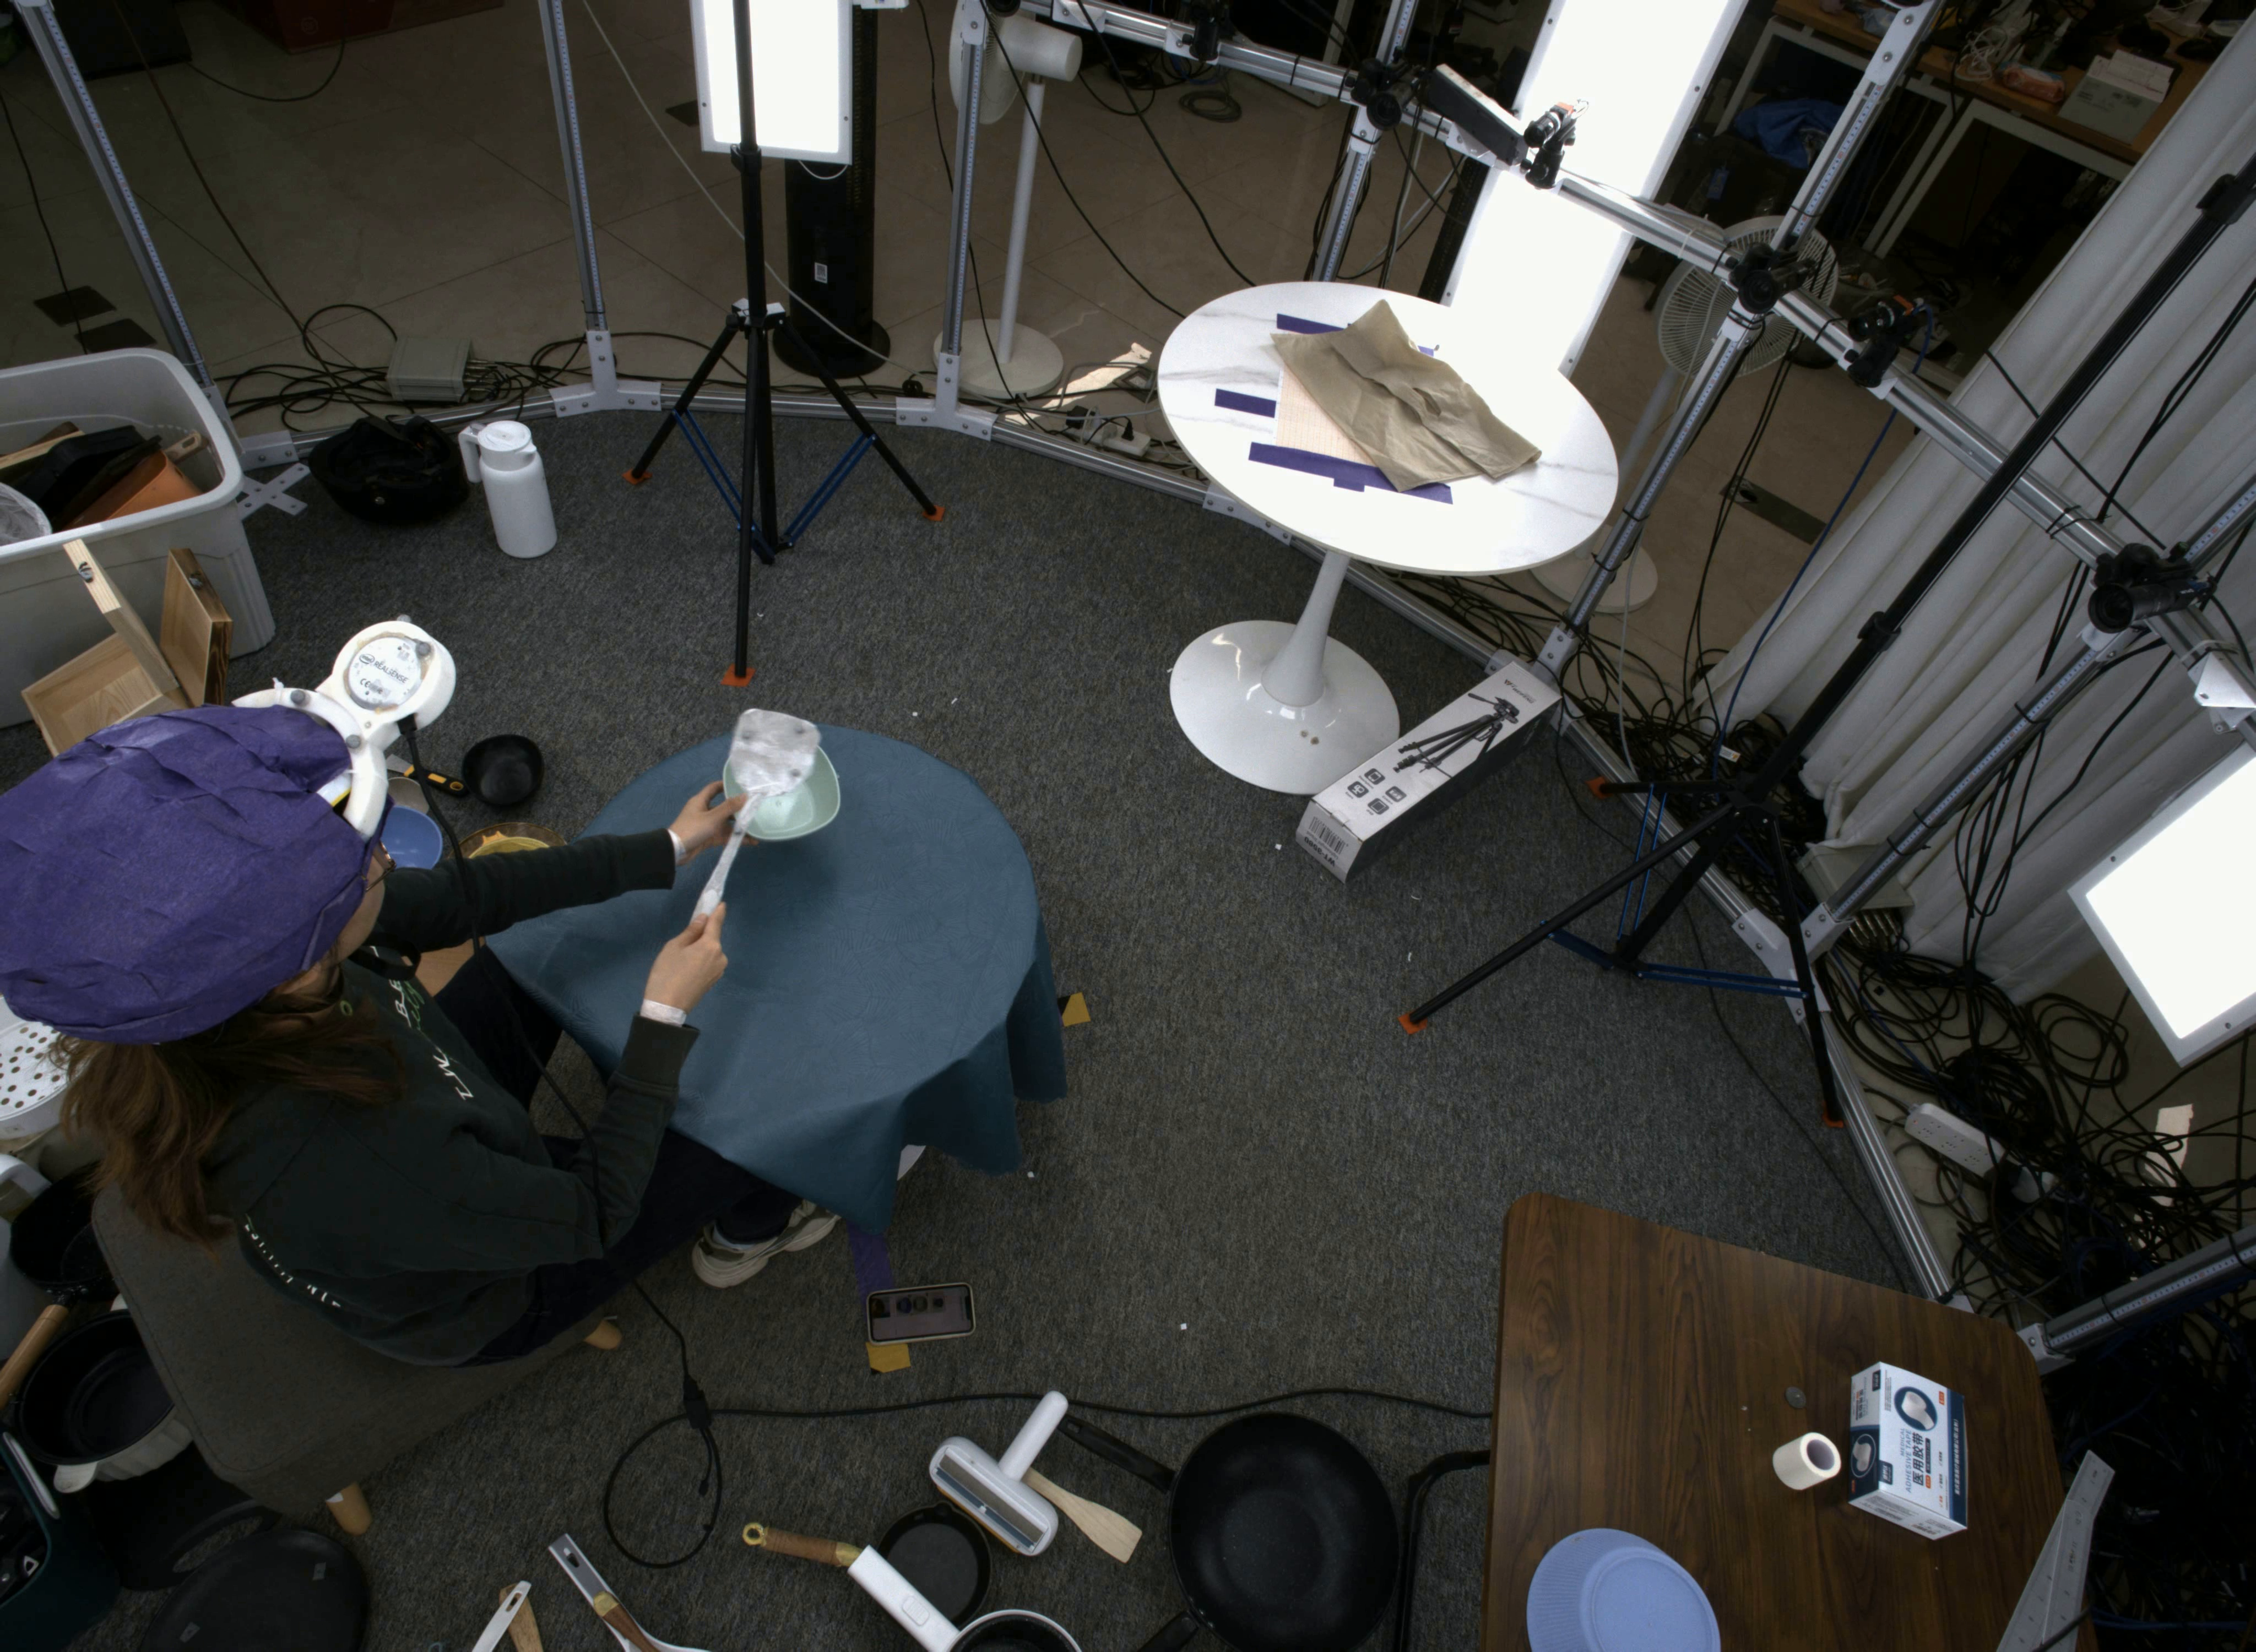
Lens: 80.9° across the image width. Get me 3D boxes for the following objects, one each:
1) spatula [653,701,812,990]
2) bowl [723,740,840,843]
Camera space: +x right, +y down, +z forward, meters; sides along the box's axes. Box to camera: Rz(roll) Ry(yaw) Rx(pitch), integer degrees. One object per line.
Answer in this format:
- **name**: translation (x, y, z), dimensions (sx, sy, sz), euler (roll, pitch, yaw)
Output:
- **spatula**: translation (-0.447, 0.015, 1.425), dimensions (0.098, 0.045, 0.360), euler (17, 55, -6)
- **bowl**: translation (-0.440, -0.036, 1.639), dimensions (0.152, 0.059, 0.150), euler (9, 63, -15)
